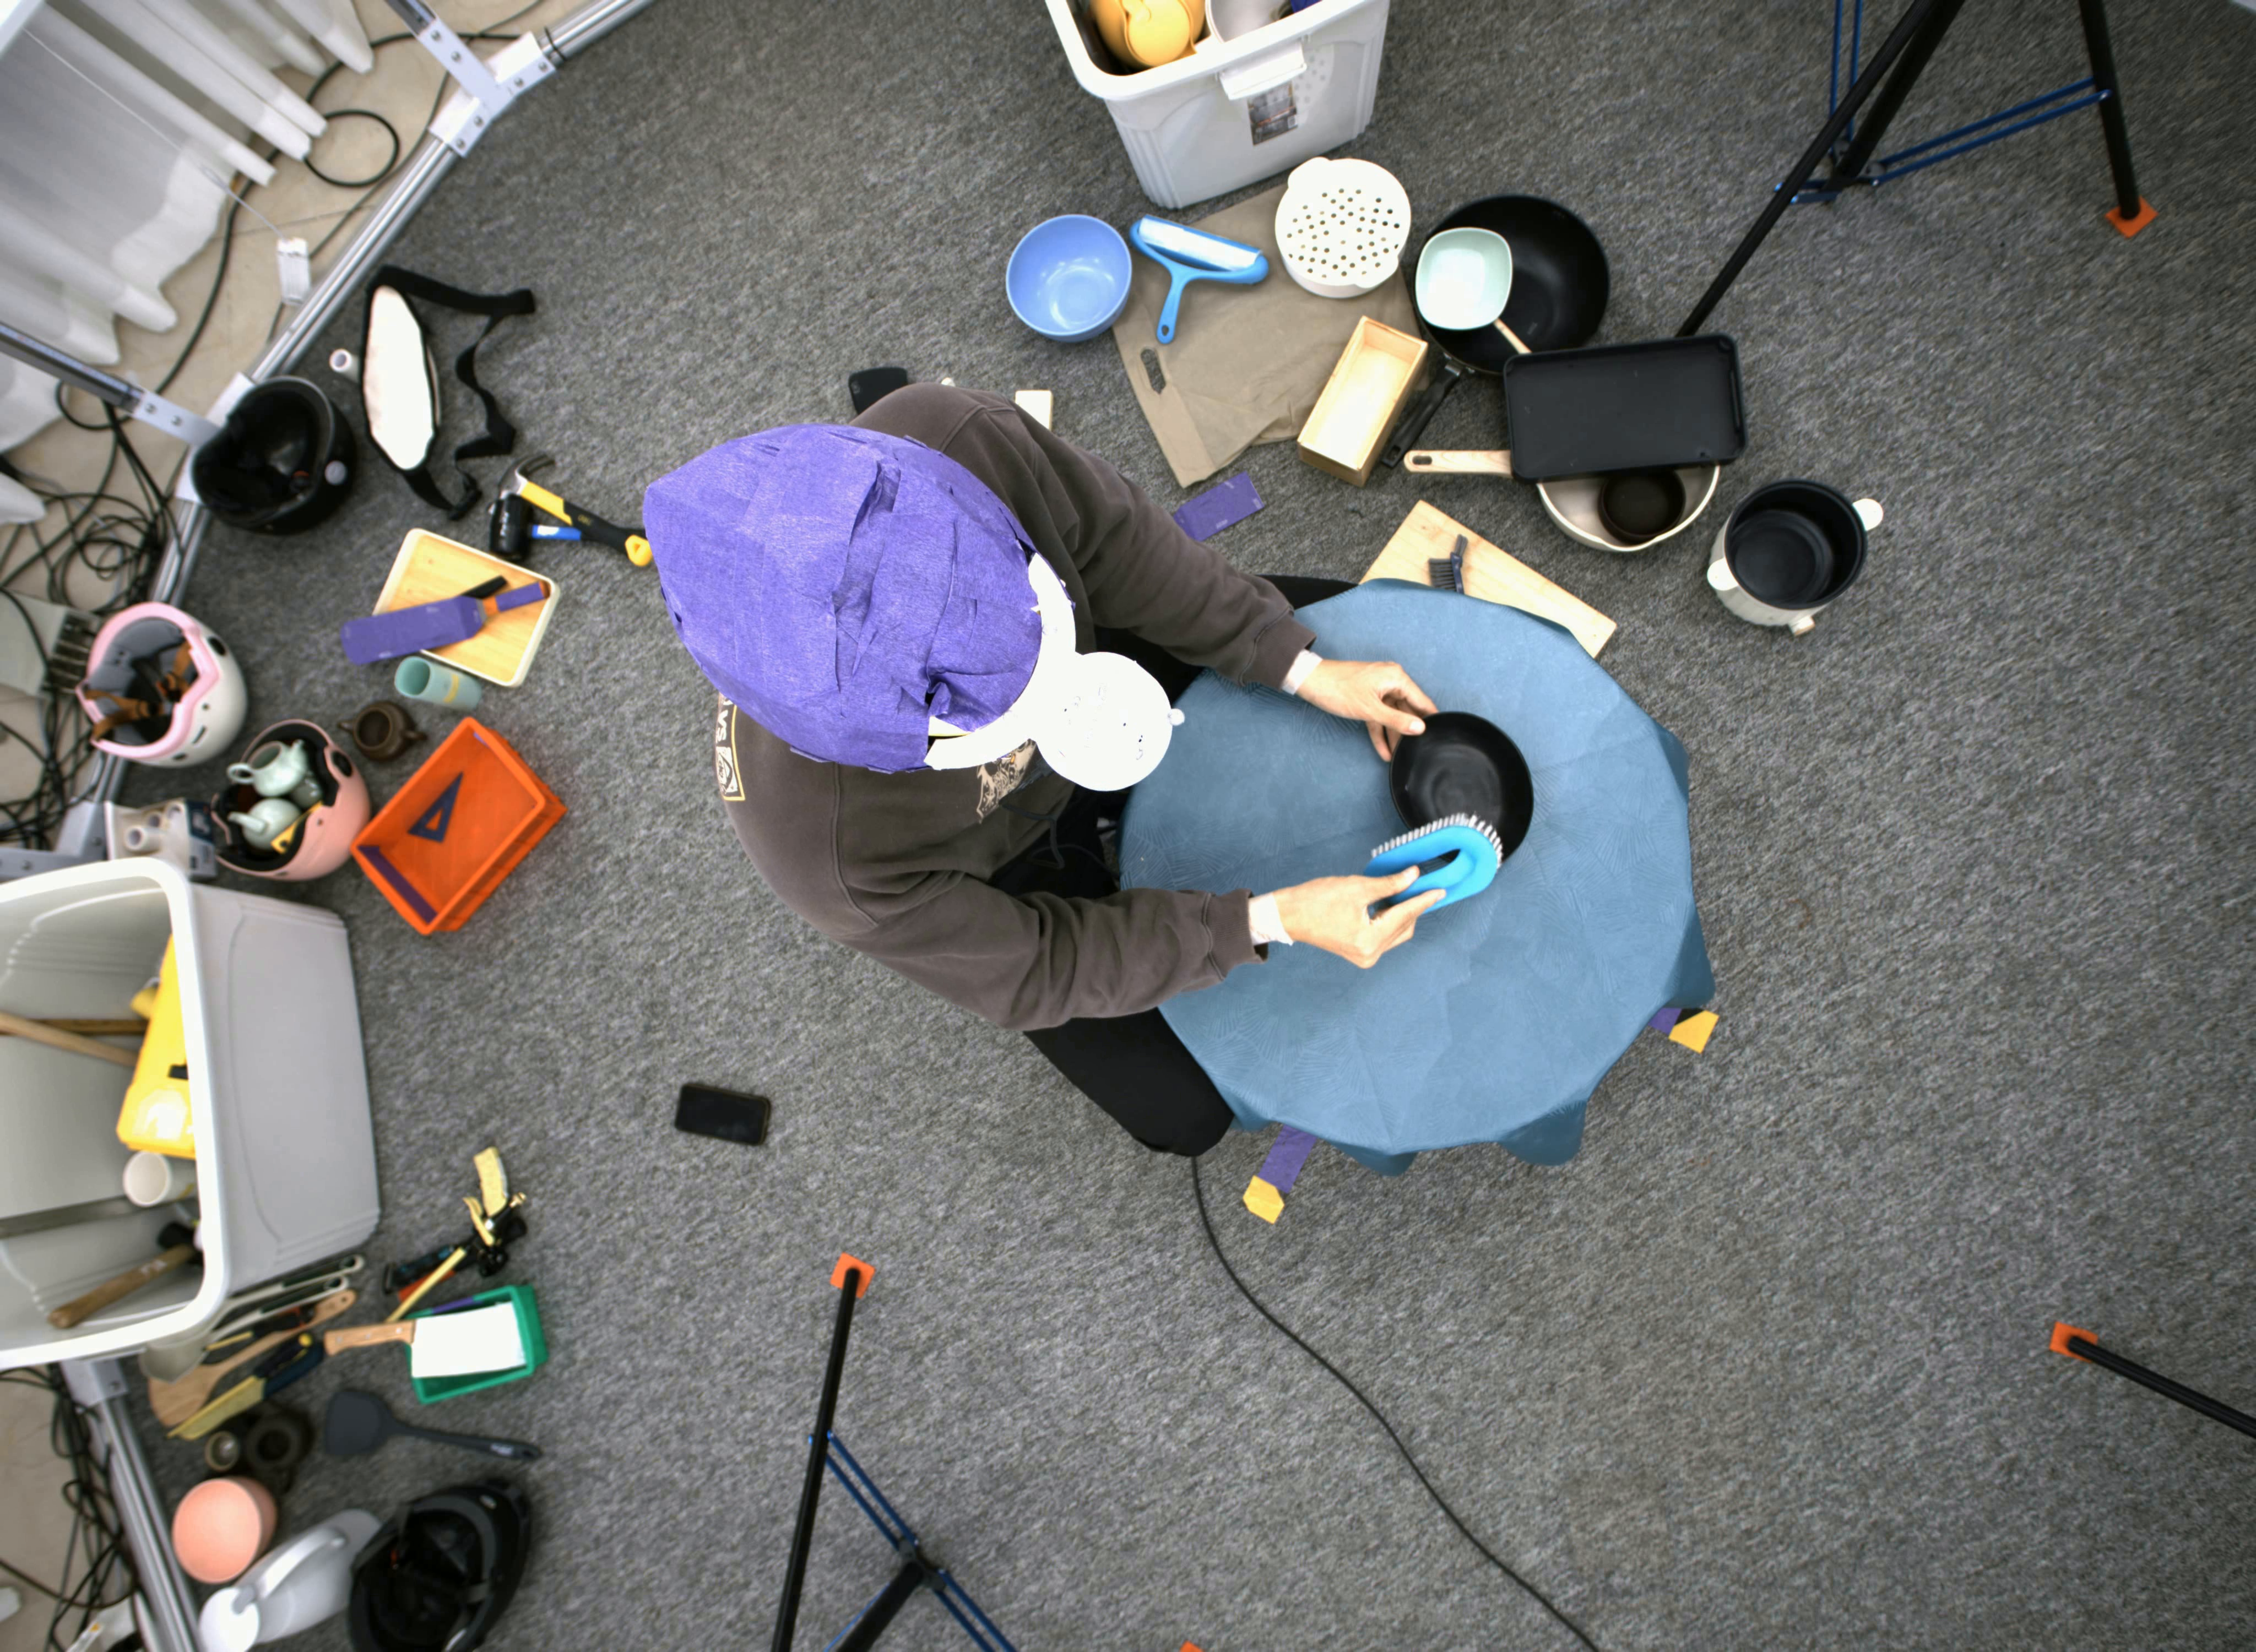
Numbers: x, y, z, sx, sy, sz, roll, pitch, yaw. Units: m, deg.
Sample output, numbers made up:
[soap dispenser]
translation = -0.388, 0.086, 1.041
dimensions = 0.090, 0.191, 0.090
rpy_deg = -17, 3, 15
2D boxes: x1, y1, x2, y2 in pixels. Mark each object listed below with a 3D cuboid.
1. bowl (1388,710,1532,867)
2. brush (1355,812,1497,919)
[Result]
[bowl]
translation = 0.342, -0.038, 1.418
dimensions = 0.138, 0.066, 0.169
rpy_deg = -28, 84, 9
[brush]
translation = 0.284, 0.045, 1.318
dimensions = 0.144, 0.062, 0.085
rpy_deg = -21, 108, 32
